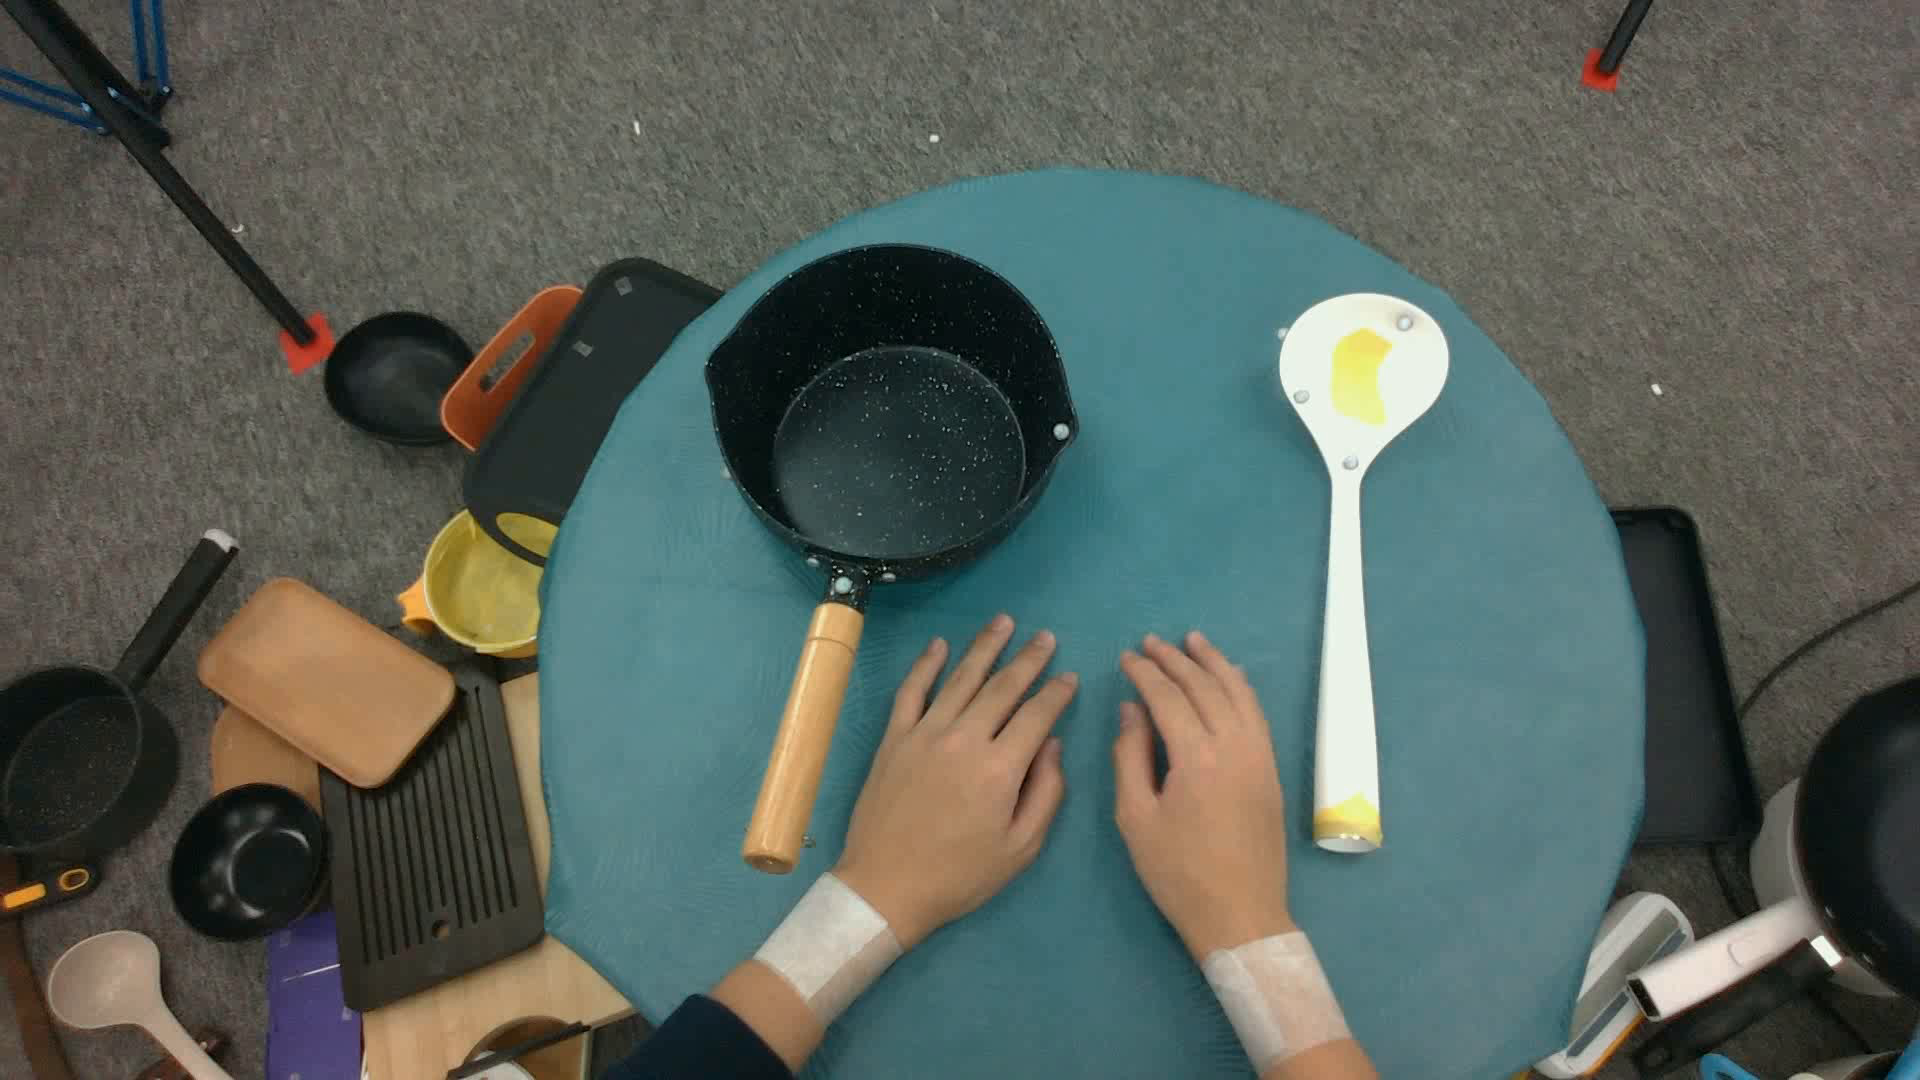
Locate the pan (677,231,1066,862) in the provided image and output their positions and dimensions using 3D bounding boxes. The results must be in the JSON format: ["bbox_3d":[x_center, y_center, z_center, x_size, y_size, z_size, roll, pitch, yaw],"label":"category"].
[{"bbox_3d":[-0.059,0.002,0.712,0.207,0.108,0.344,9,68,3],"label":"pan"}]

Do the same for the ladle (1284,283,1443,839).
[{"bbox_3d":[0.208,0.007,0.733,0.090,0.069,0.294,9,70,-3],"label":"ladle"}]
